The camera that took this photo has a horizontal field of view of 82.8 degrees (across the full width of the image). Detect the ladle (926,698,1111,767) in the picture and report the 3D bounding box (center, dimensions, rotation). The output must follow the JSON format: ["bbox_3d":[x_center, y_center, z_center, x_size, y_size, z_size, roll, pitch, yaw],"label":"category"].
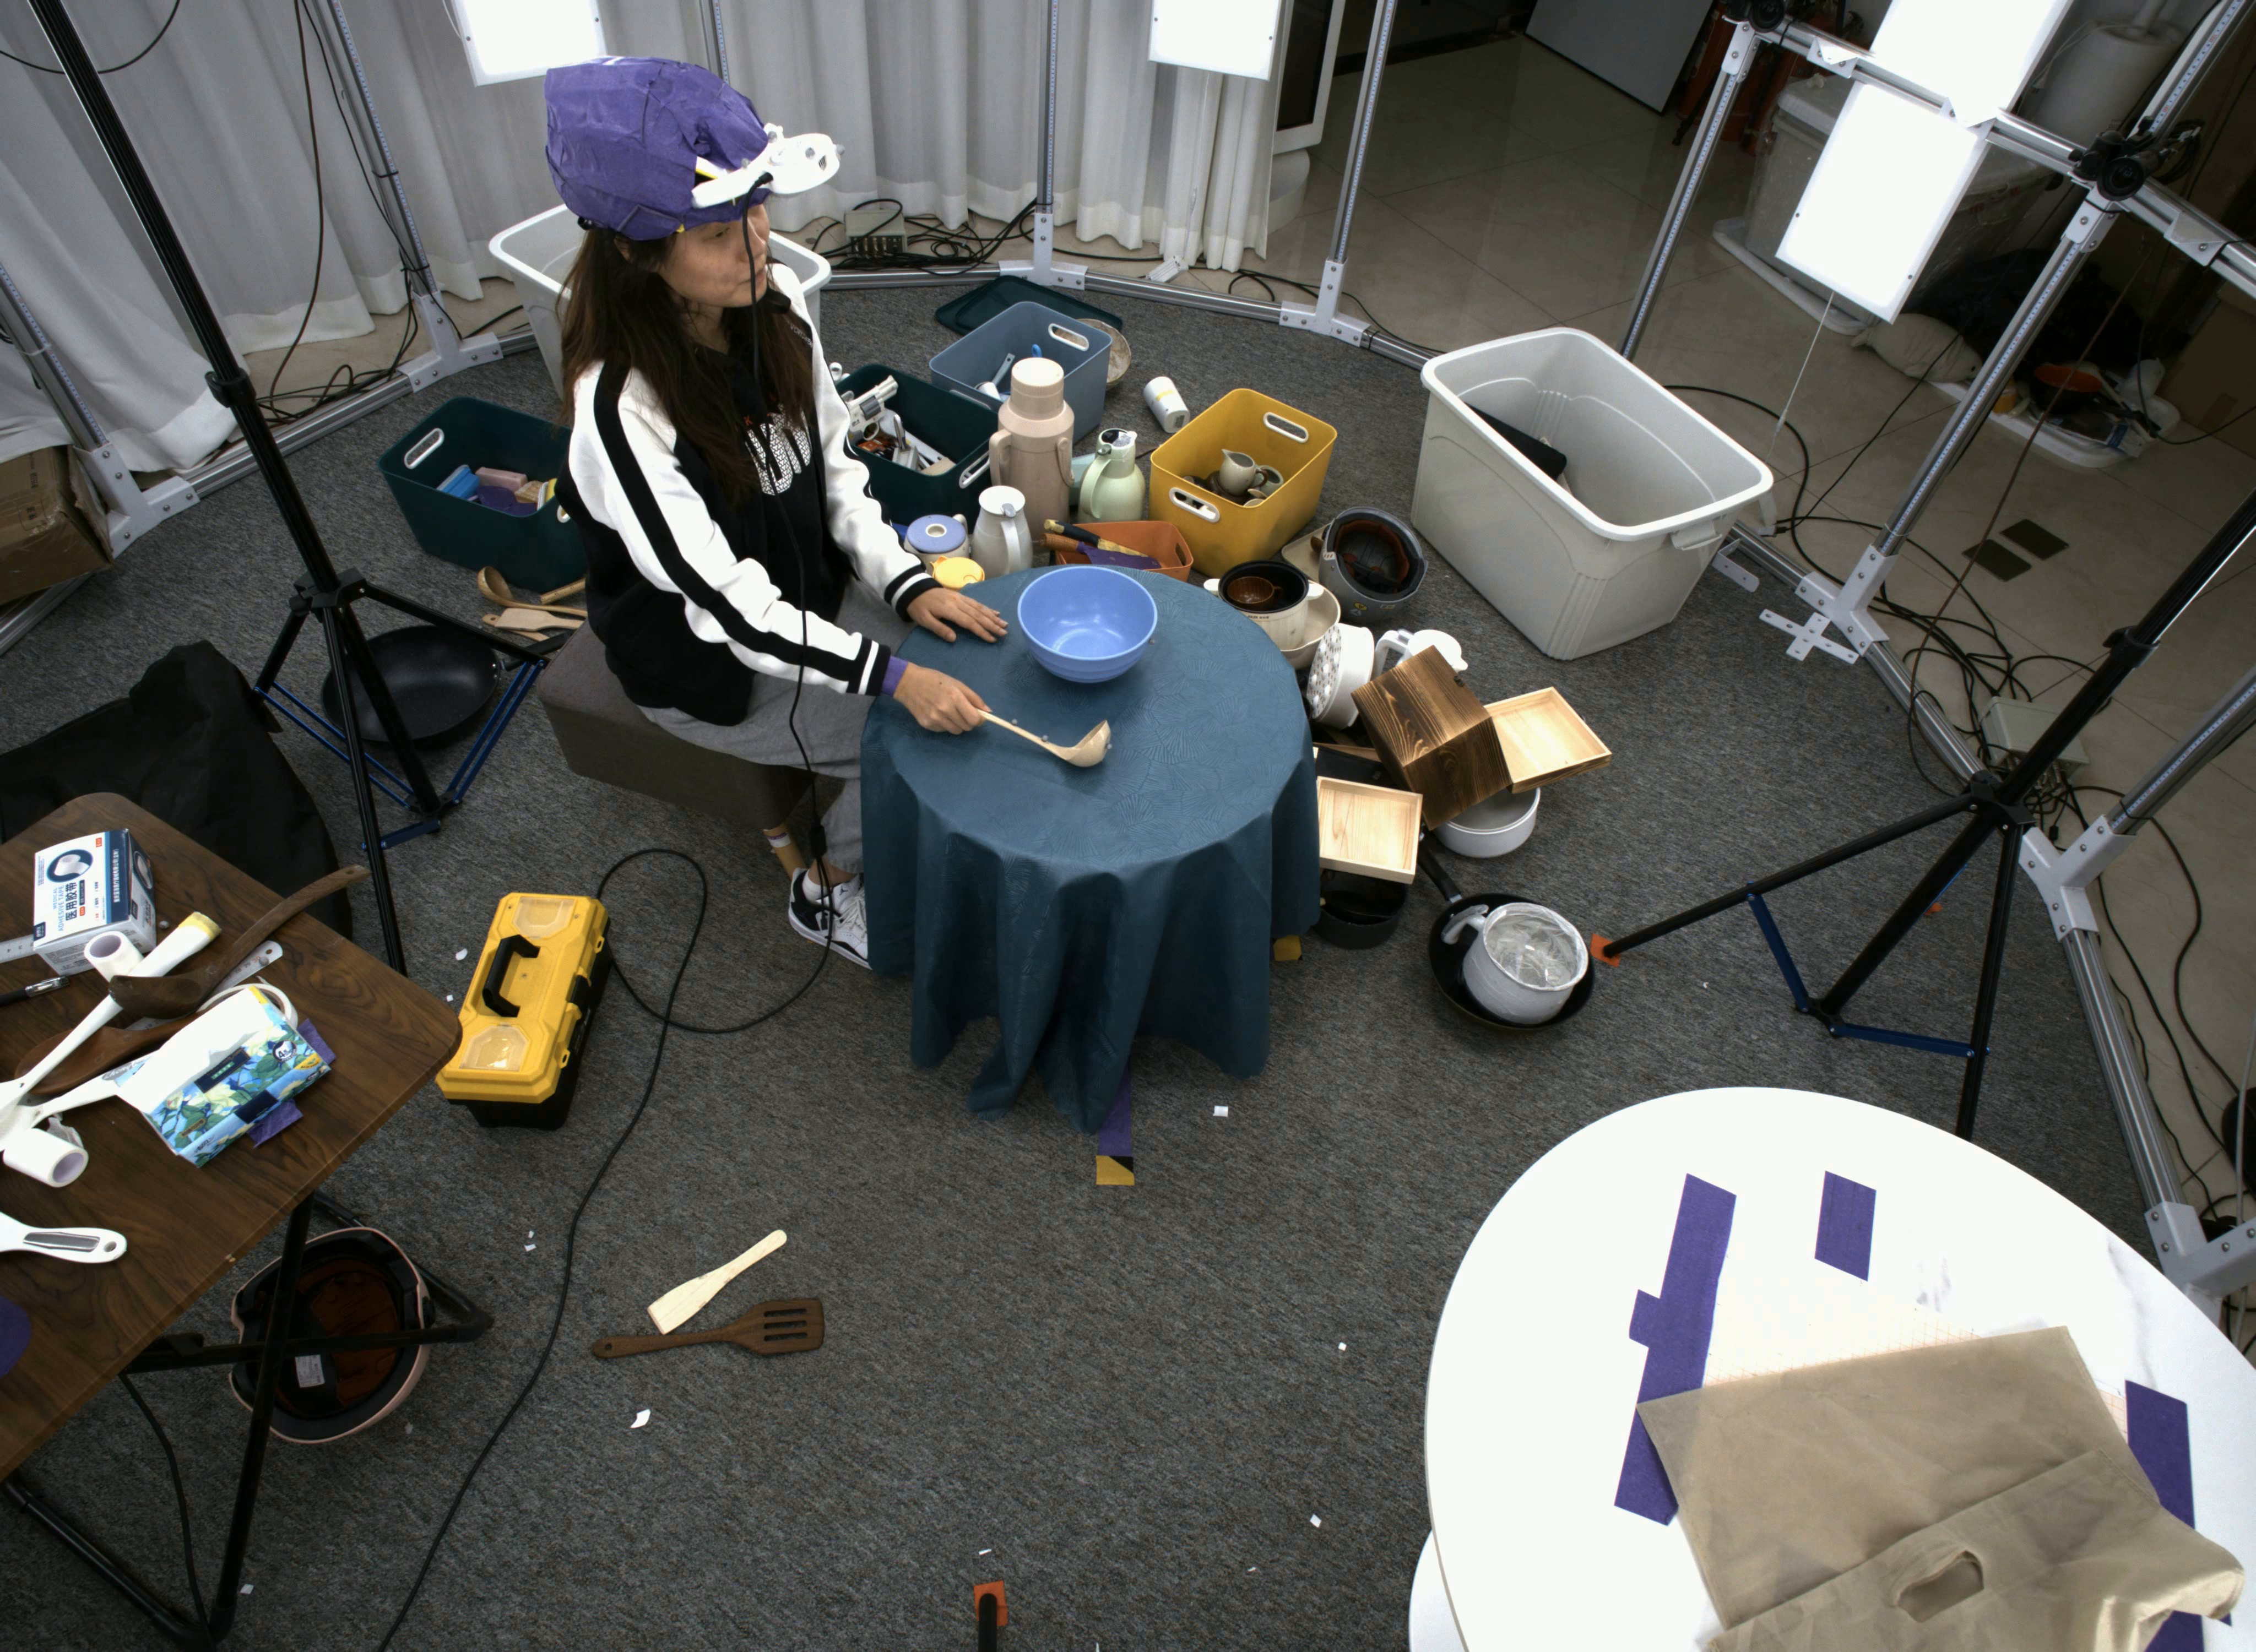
[{"bbox_3d":[-0.146,-0.150,1.725,0.255,0.071,0.073,22,34,3],"label":"ladle"}]

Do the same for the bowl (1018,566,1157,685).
[{"bbox_3d":[-0.059,-0.272,1.844,0.196,0.093,0.201,1,51,-2],"label":"bowl"}]
